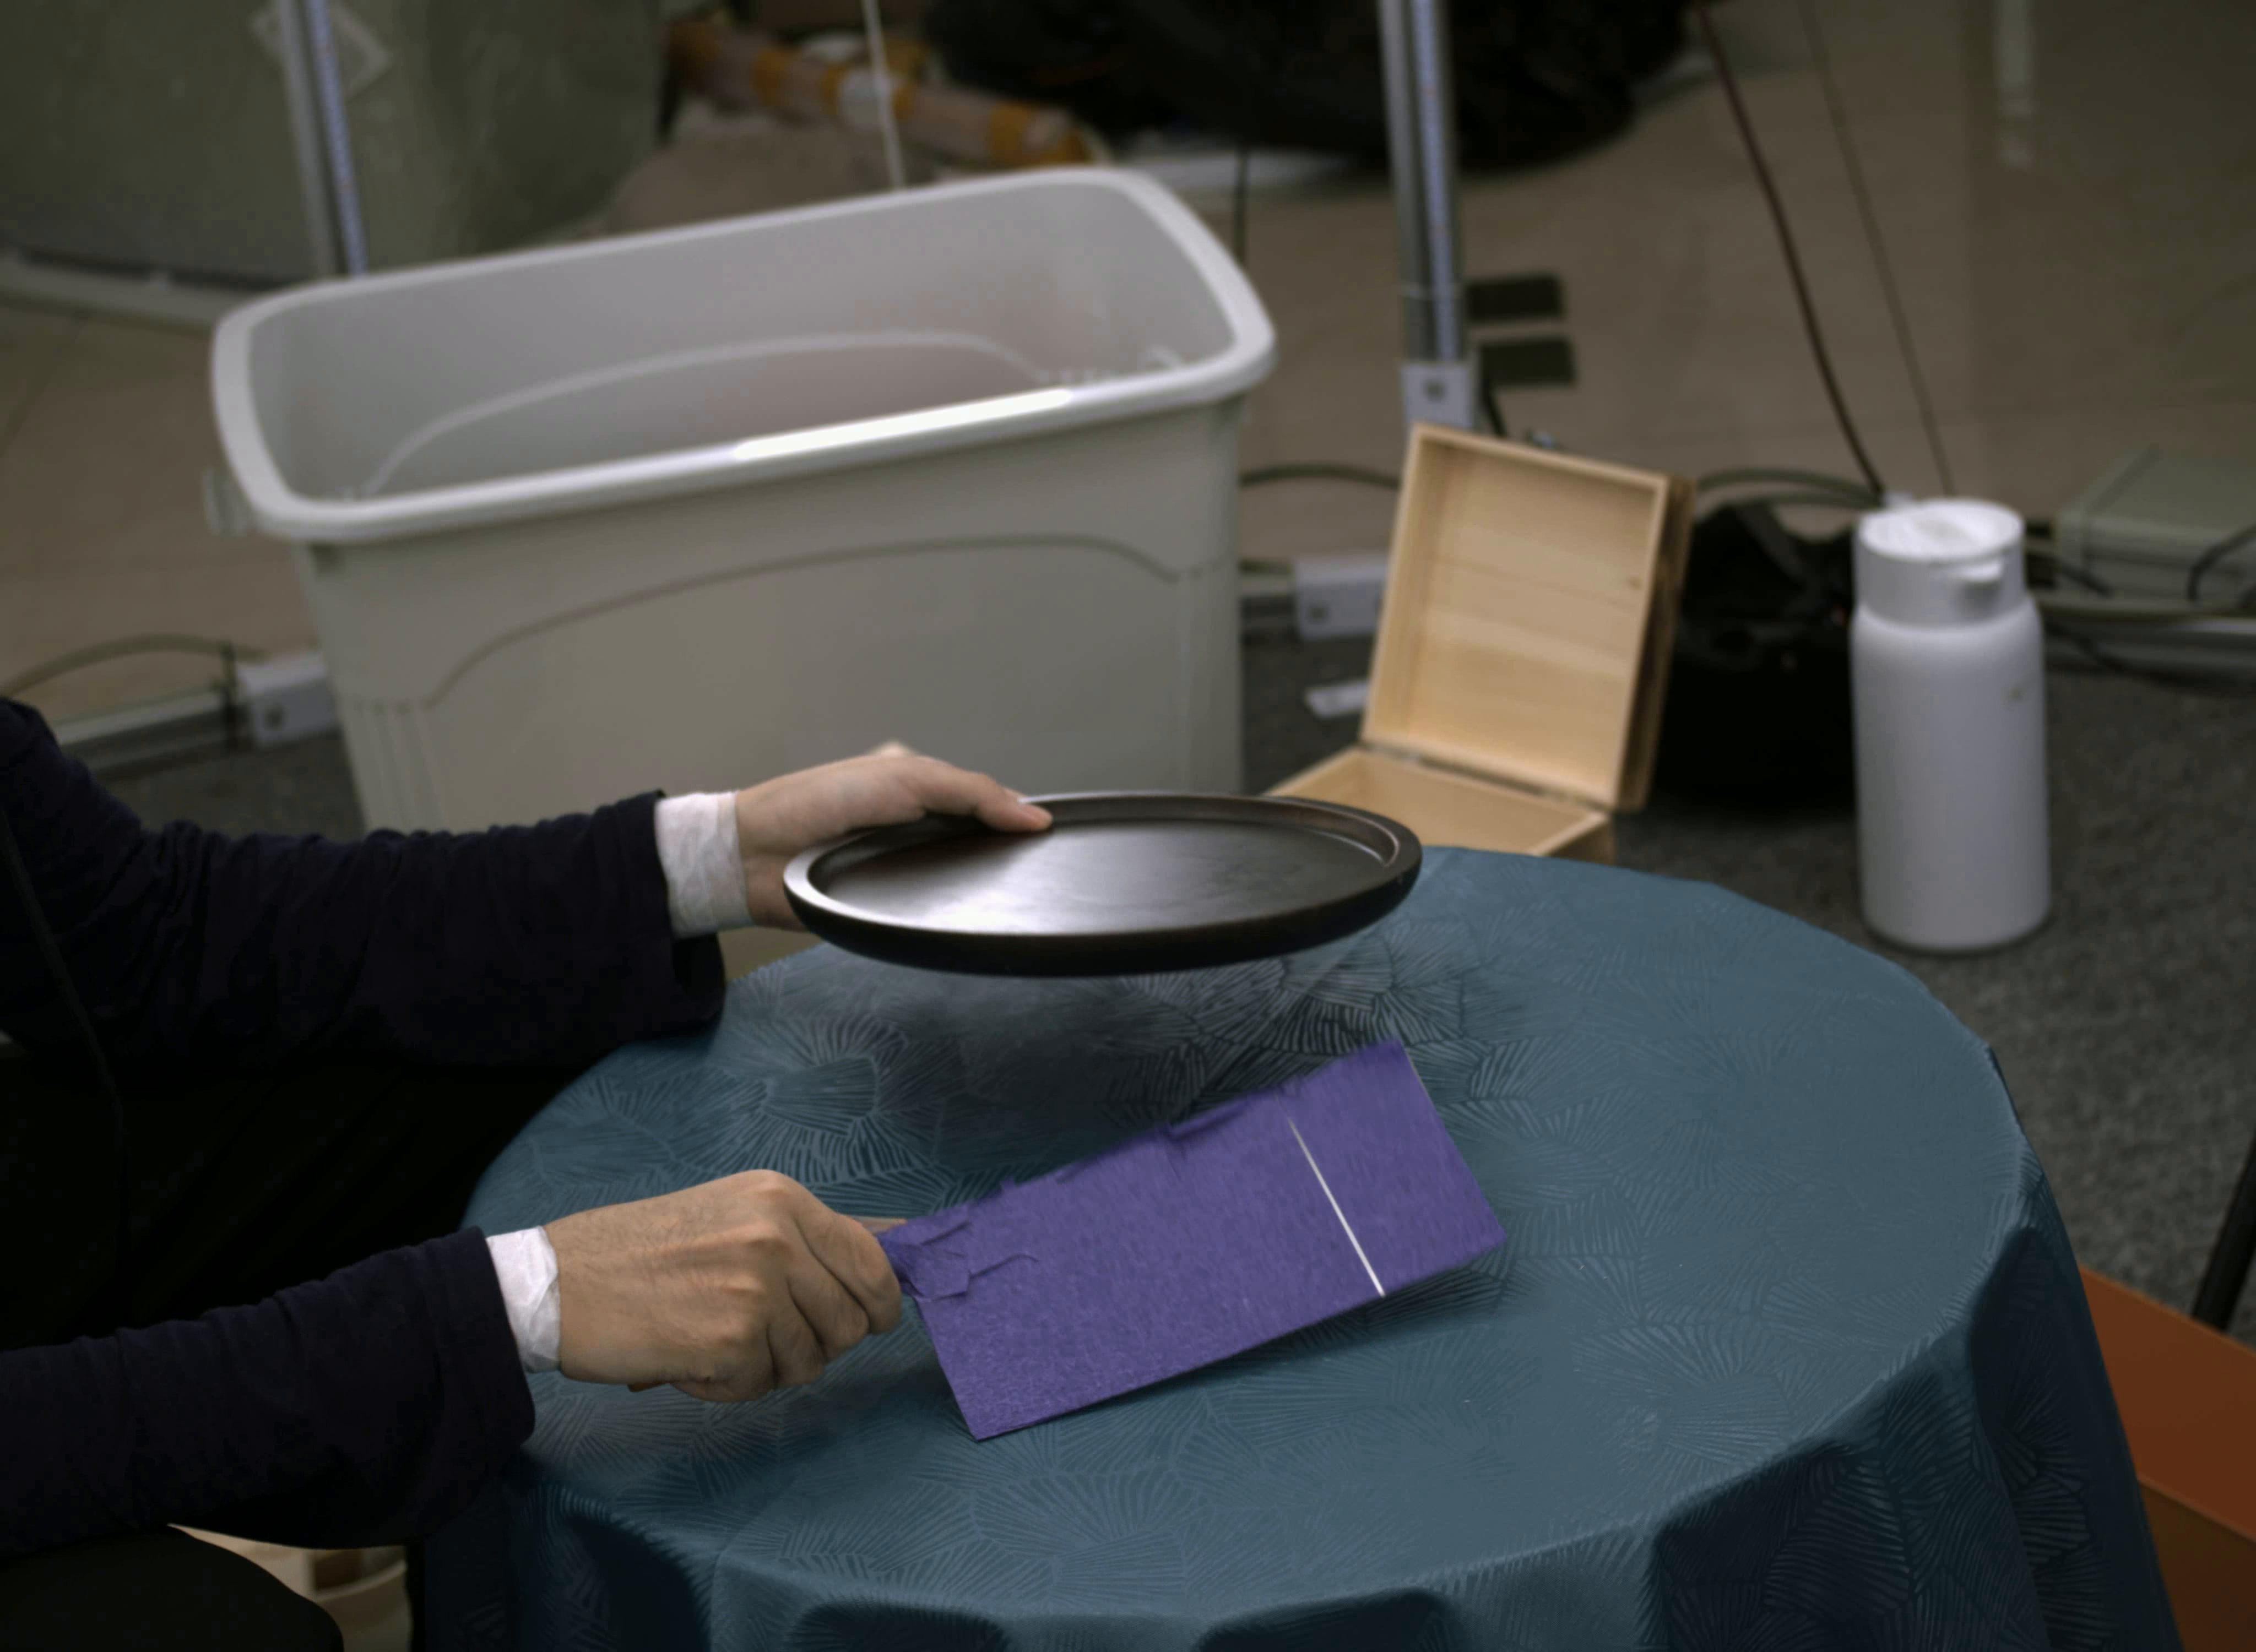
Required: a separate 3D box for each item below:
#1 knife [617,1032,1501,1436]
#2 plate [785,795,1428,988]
[{"bbox_3d":[-0.022,0.163,2.026,0.314,0.033,0.102,-20,59,-11],"label":"knife"},{"bbox_3d":[-0.008,0.023,2.227,0.254,0.029,0.252,-1,14,0],"label":"plate"}]
